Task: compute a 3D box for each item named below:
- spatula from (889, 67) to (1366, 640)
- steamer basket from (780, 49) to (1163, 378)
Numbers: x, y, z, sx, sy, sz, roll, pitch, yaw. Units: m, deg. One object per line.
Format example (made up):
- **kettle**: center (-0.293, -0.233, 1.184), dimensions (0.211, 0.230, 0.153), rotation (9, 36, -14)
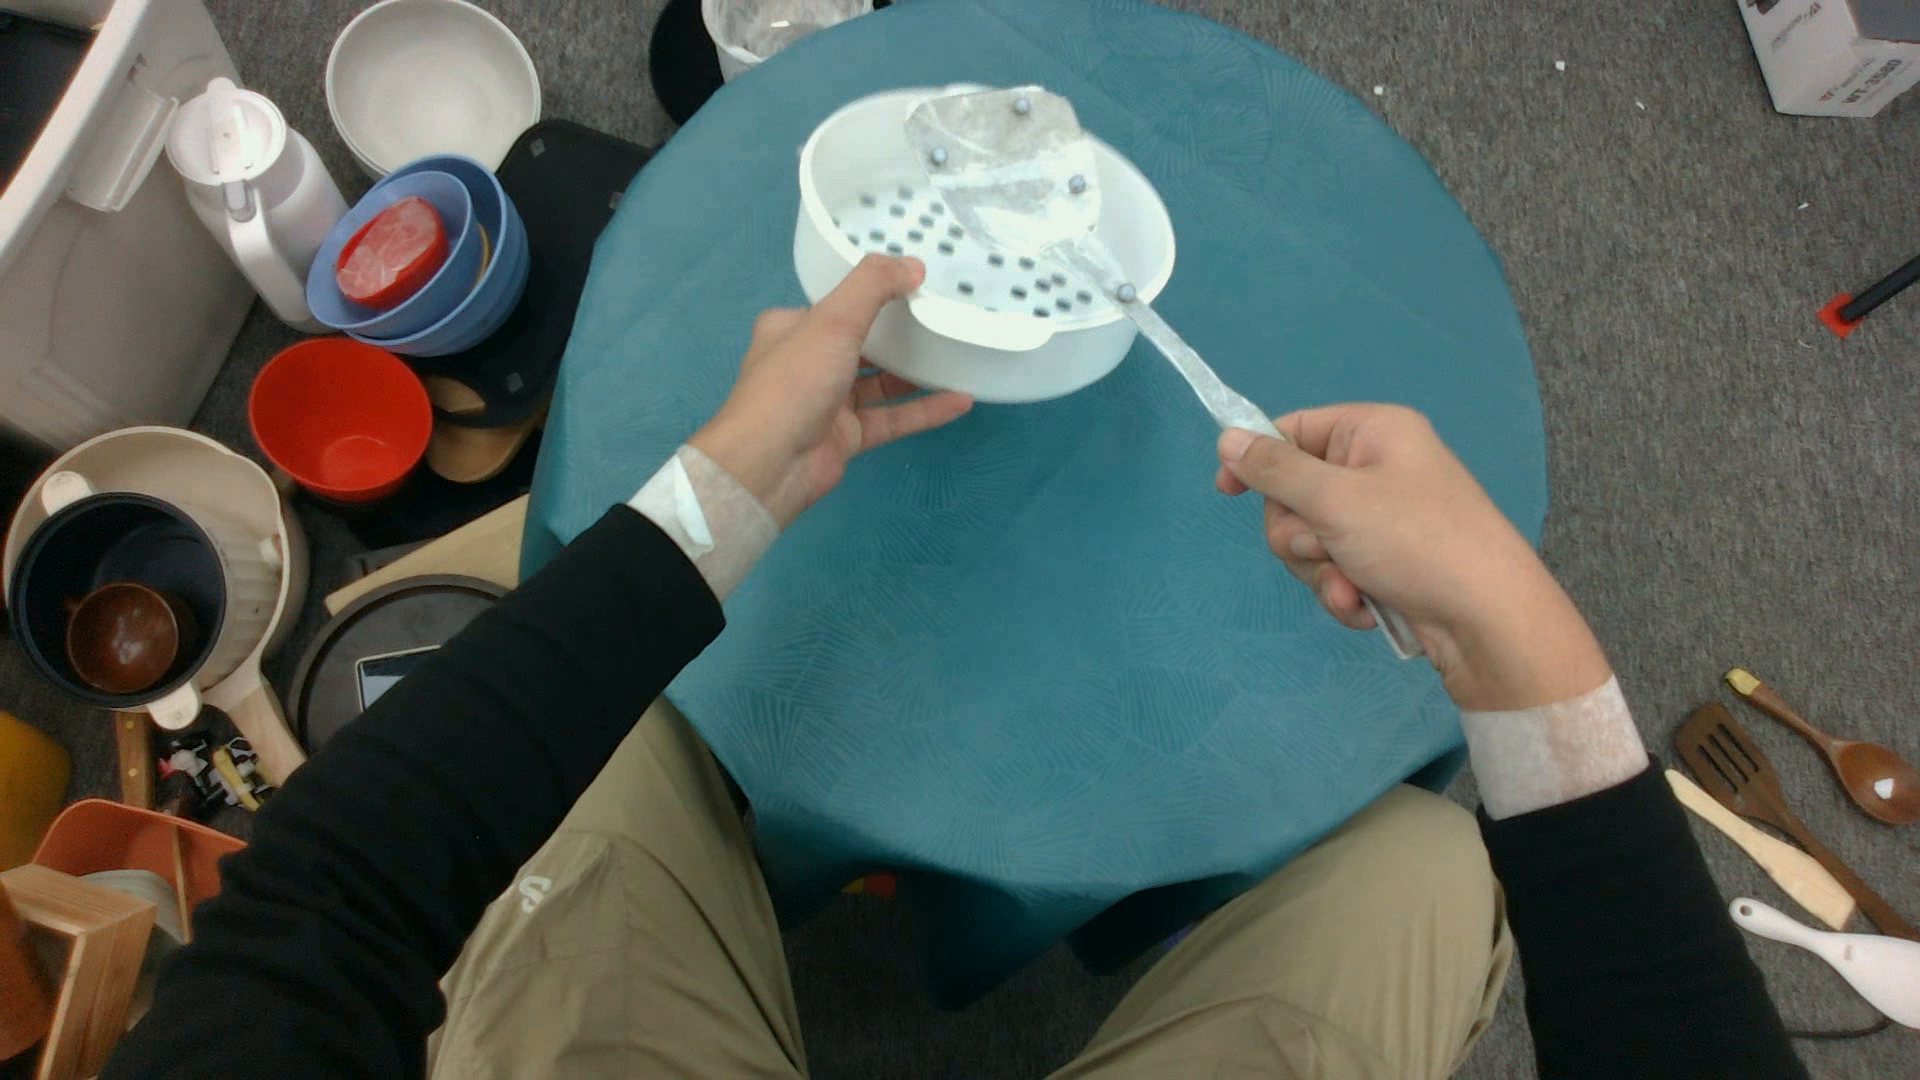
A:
- **spatula**: center (0.078, -0.103, 0.611), dimensions (0.099, 0.044, 0.365), rotation (-13, 49, -26)
- **steamer basket**: center (0.003, -0.173, 0.735), dimensions (0.202, 0.069, 0.231), rotation (12, 49, -8)
